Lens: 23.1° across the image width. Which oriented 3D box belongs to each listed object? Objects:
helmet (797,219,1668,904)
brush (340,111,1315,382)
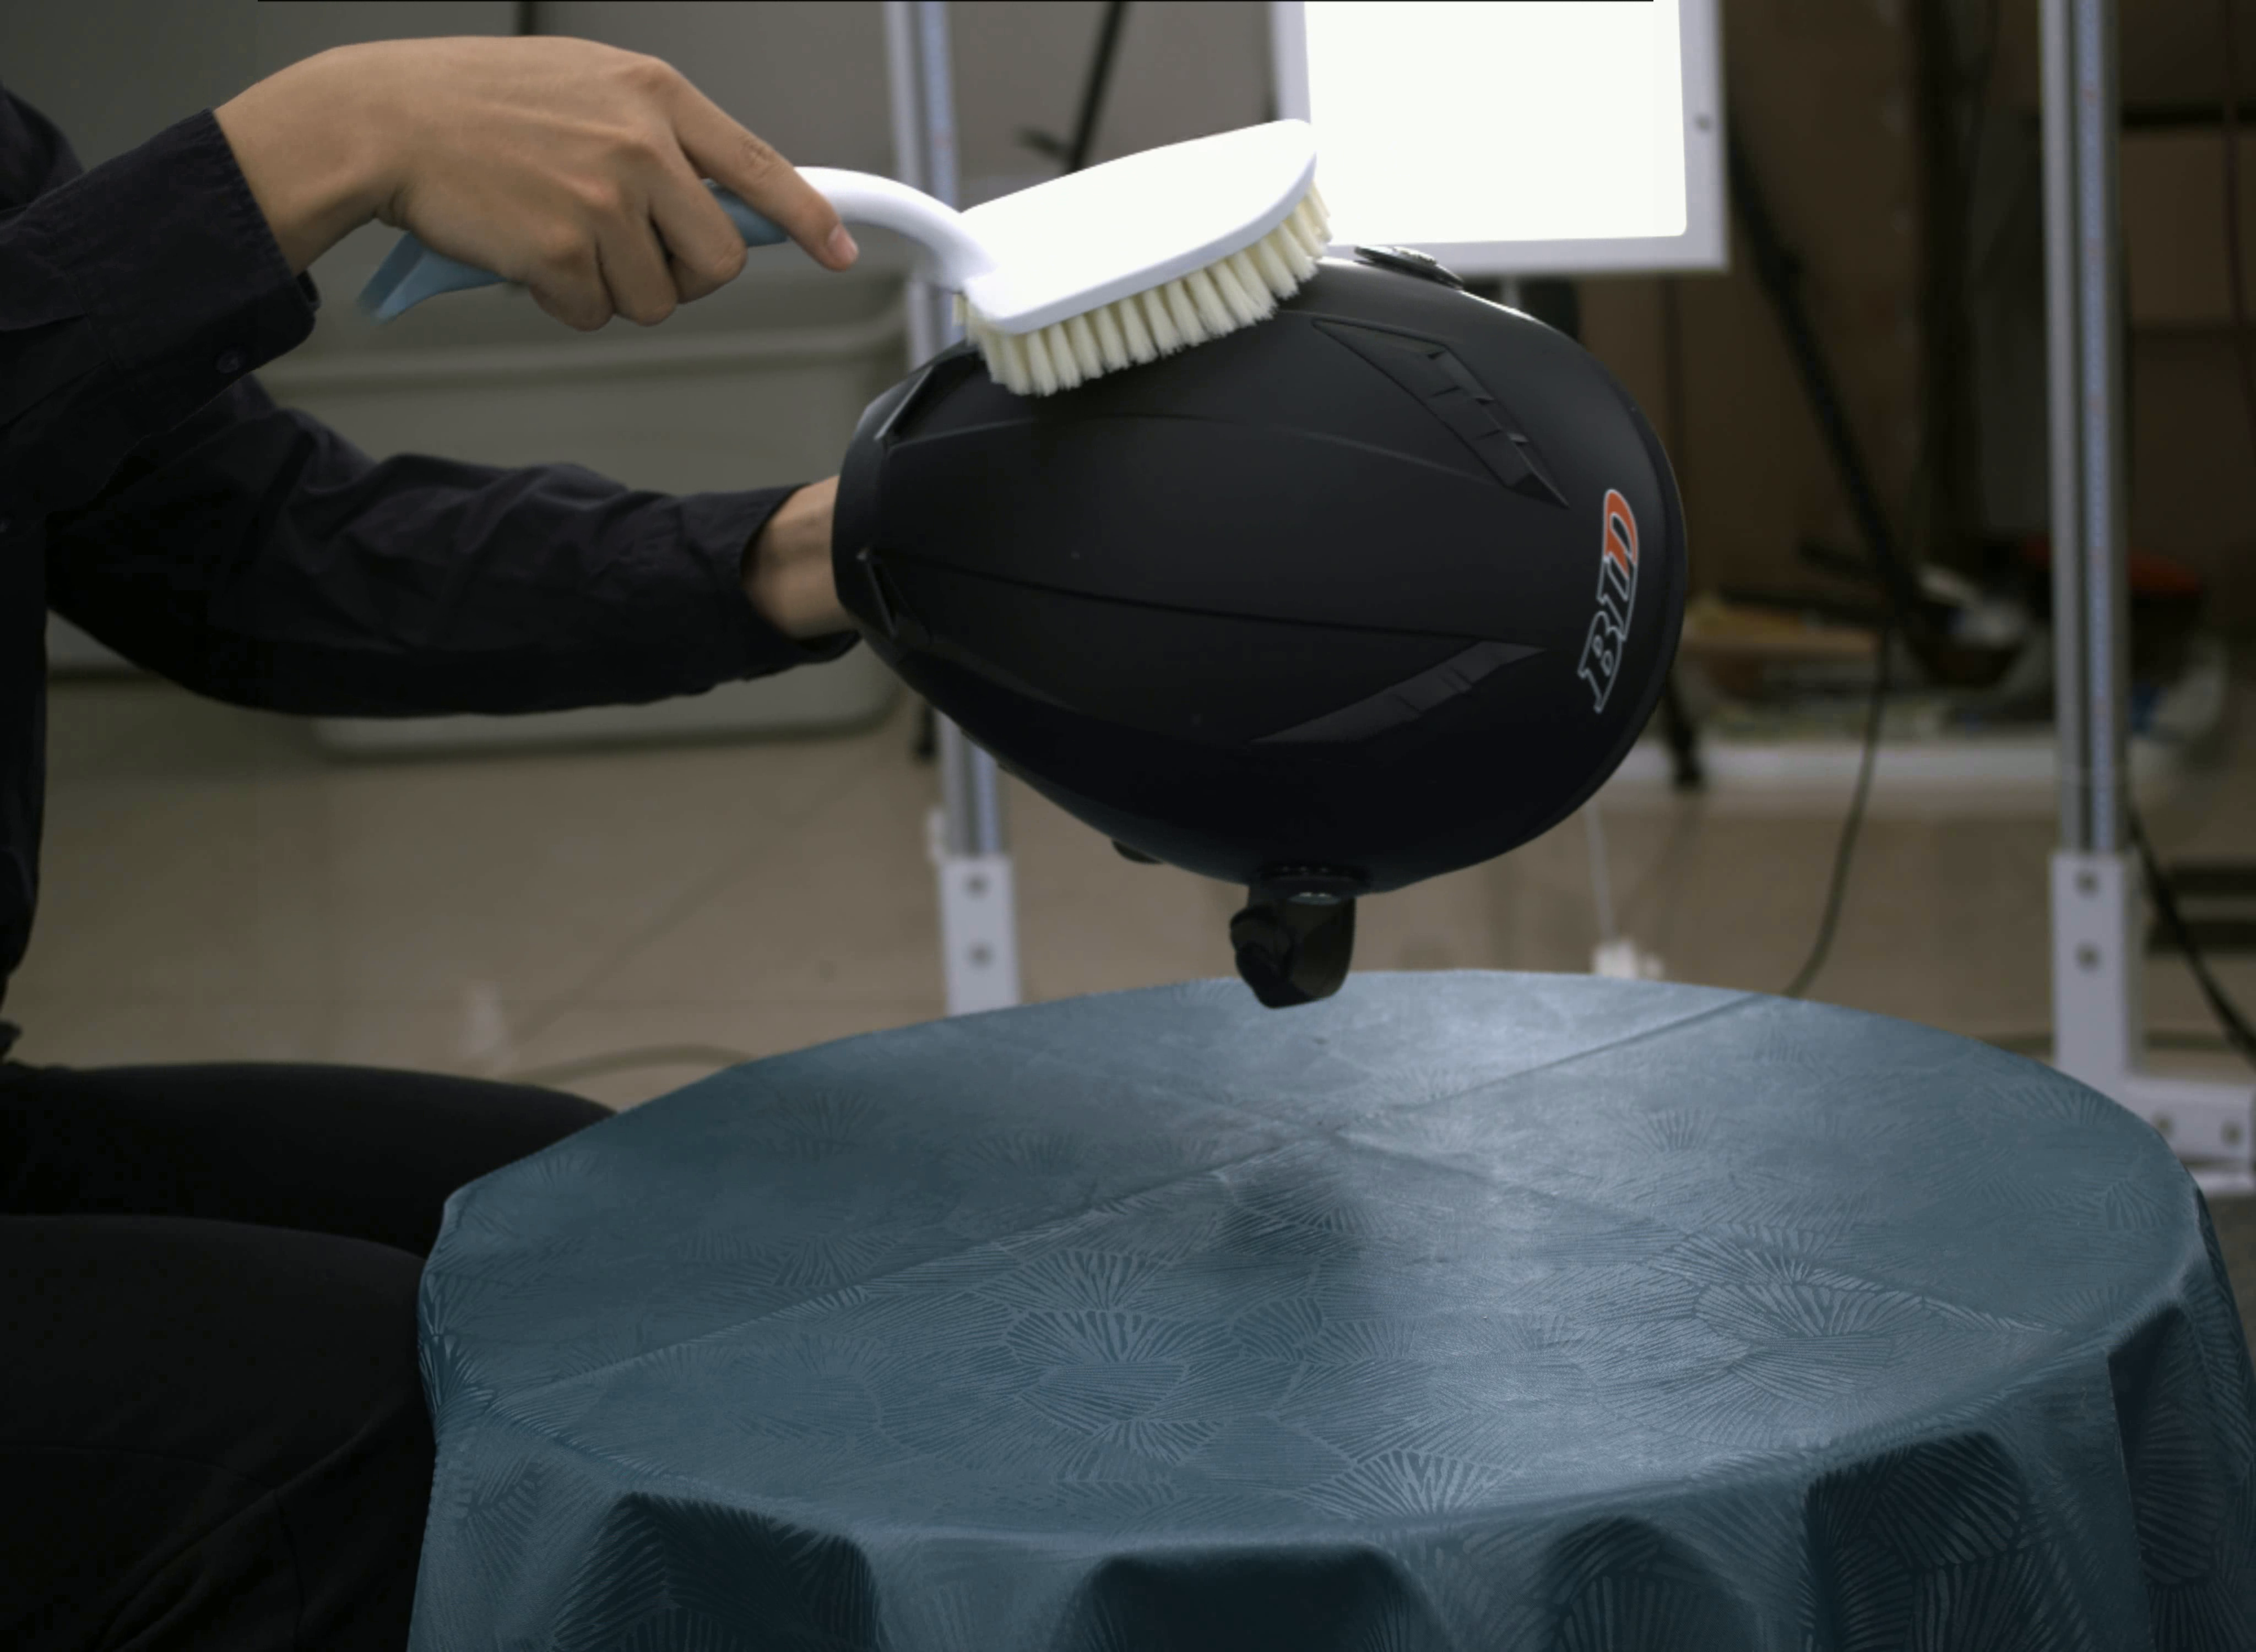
[{"bbox_3d":[0.031,-0.099,1.864,0.282,0.247,0.169,8,-3,32],"label":"helmet"},{"bbox_3d":[-0.095,-0.178,1.805,0.322,0.085,0.084,-9,2,-10],"label":"brush"}]
